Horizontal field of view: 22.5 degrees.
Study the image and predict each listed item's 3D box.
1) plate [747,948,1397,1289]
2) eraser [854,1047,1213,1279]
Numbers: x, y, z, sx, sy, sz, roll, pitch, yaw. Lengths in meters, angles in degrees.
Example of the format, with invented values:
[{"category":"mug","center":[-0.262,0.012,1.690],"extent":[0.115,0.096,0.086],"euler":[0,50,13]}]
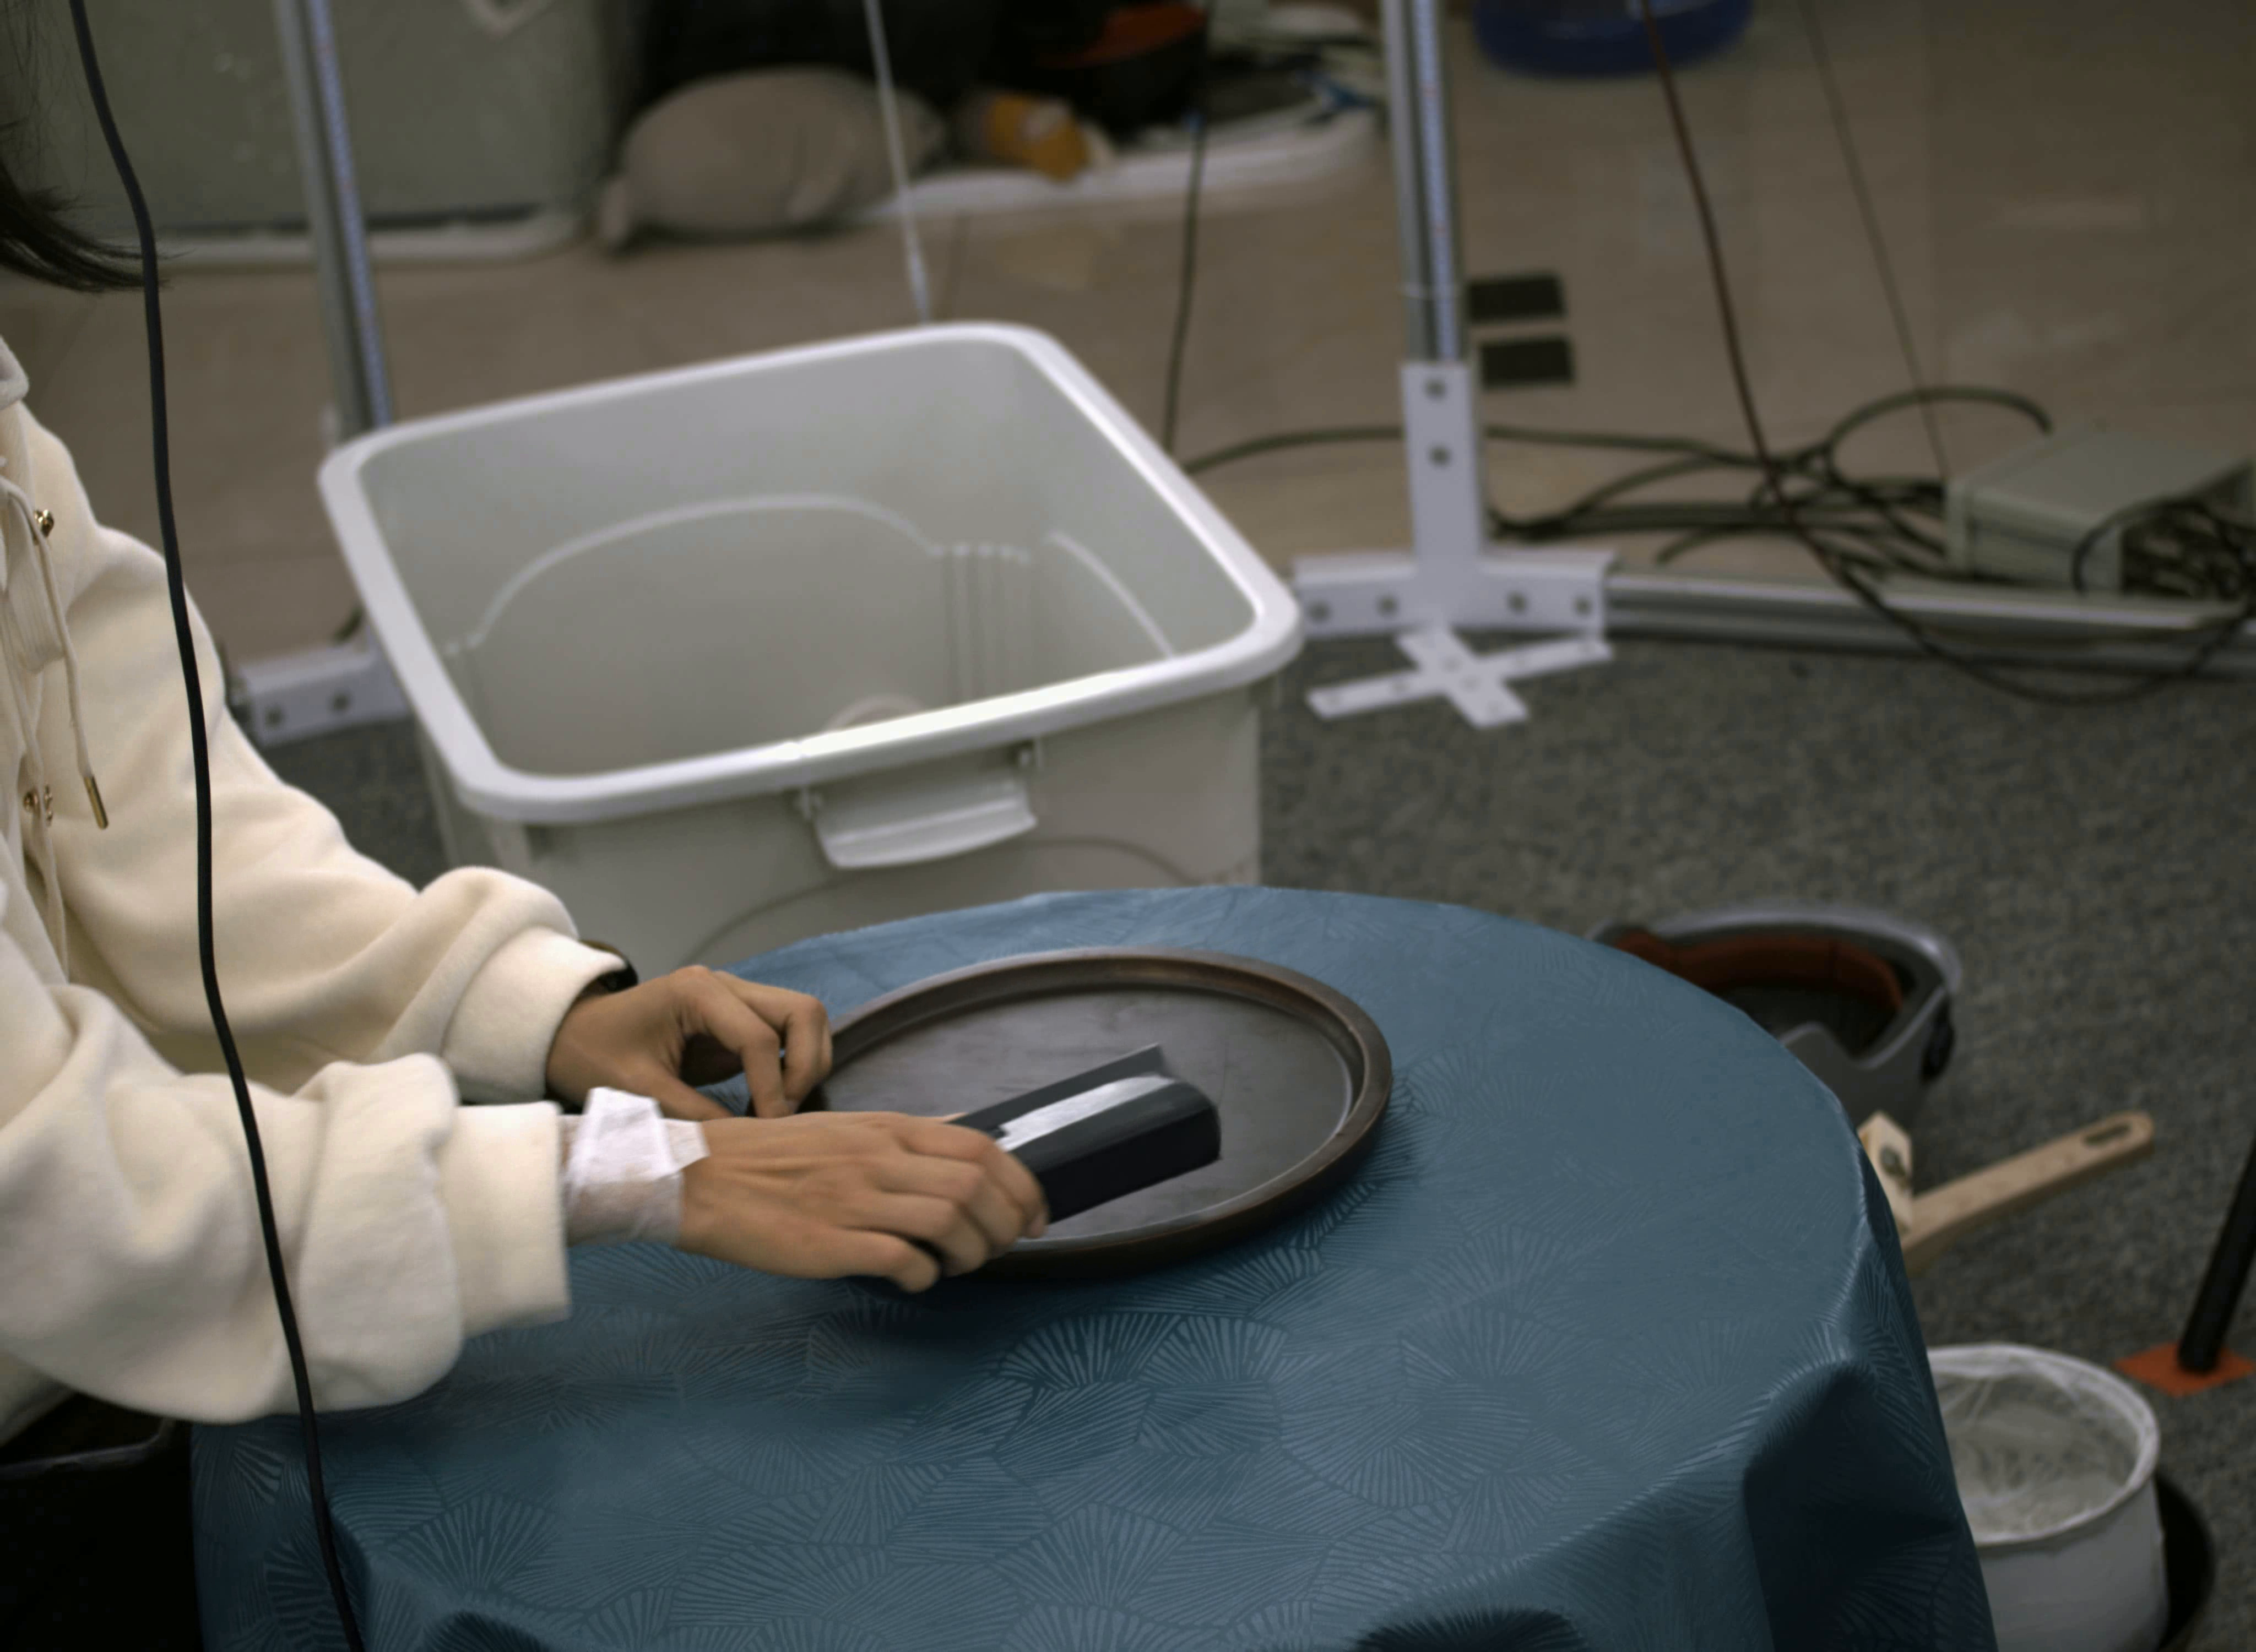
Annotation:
[{"category":"plate","center":[-0.021,0.111,2.185],"extent":[0.254,0.029,0.251],"euler":[-4,25,2]},{"category":"eraser","center":[-0.034,0.122,2.072],"extent":[0.125,0.031,0.053],"euler":[-22,31,-12]}]
